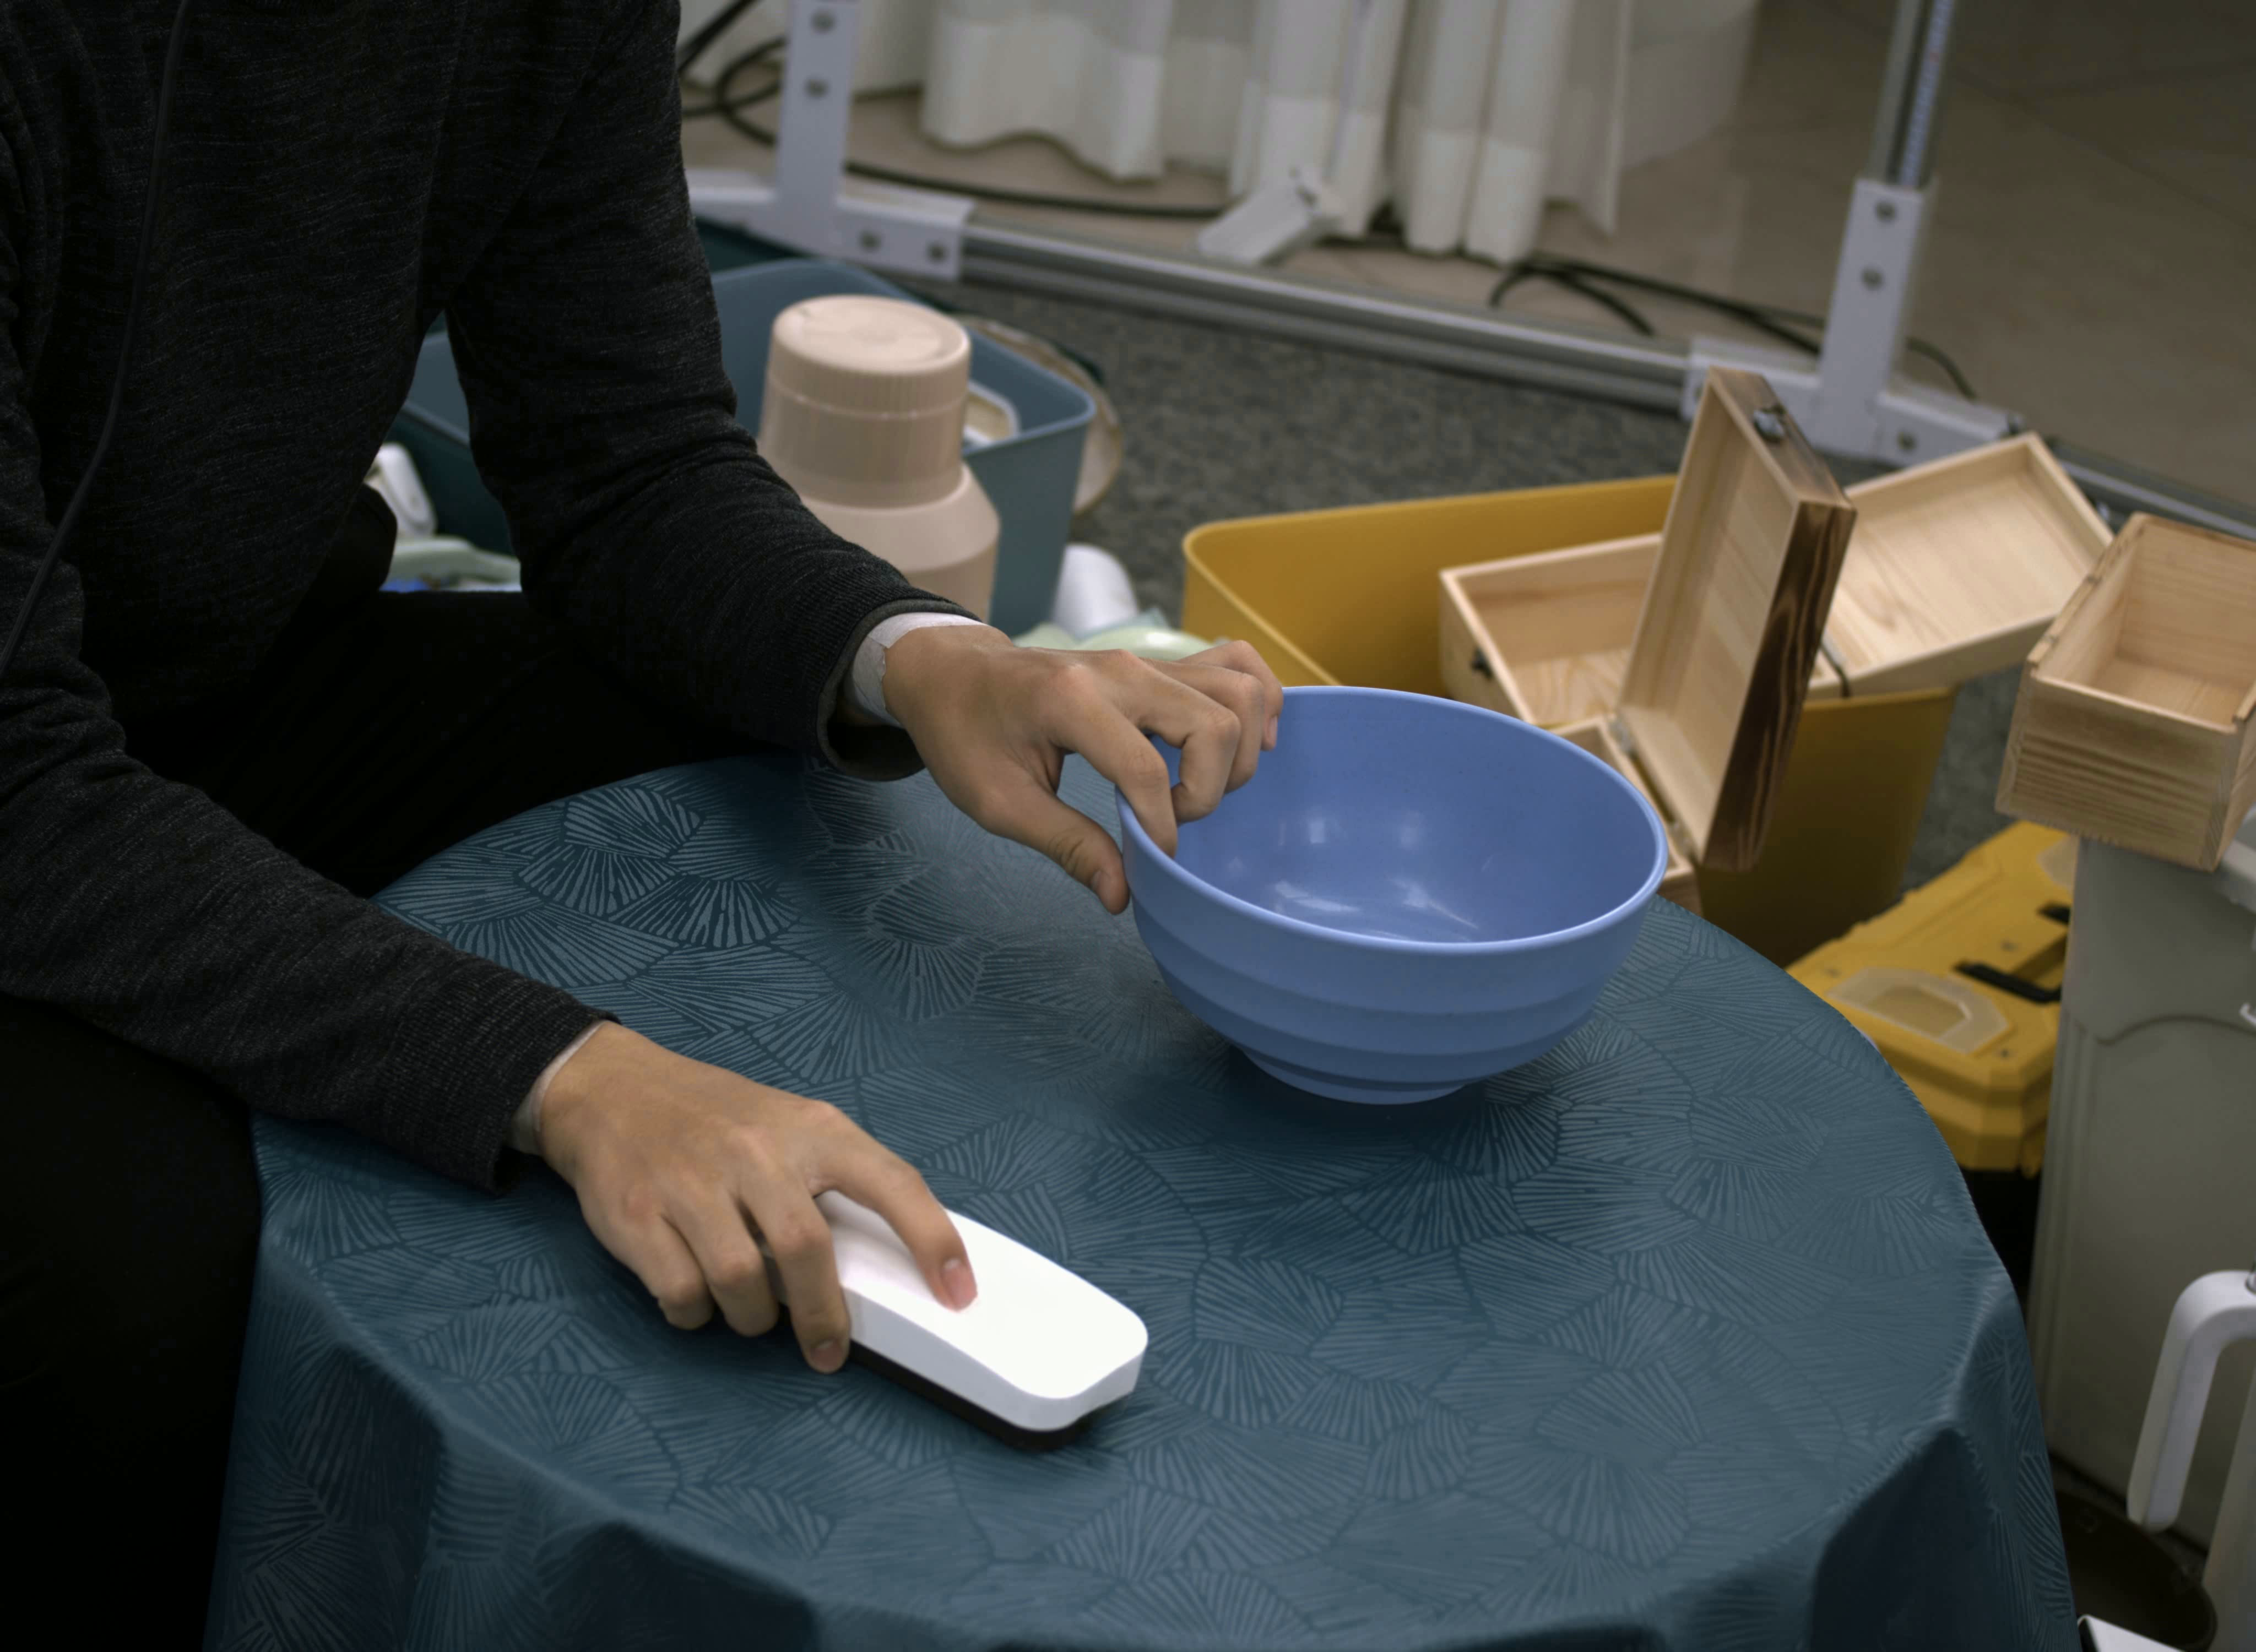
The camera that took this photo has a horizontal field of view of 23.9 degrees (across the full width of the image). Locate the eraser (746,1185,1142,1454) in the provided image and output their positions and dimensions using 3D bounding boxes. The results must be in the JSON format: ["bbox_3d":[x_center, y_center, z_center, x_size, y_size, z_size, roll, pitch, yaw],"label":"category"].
[{"bbox_3d":[-0.059,0.154,1.696,0.132,0.034,0.063,25,32,31],"label":"eraser"}]

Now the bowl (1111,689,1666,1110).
[{"bbox_3d":[0.087,0.037,1.890,0.196,0.095,0.198,4,28,-3],"label":"bowl"}]
